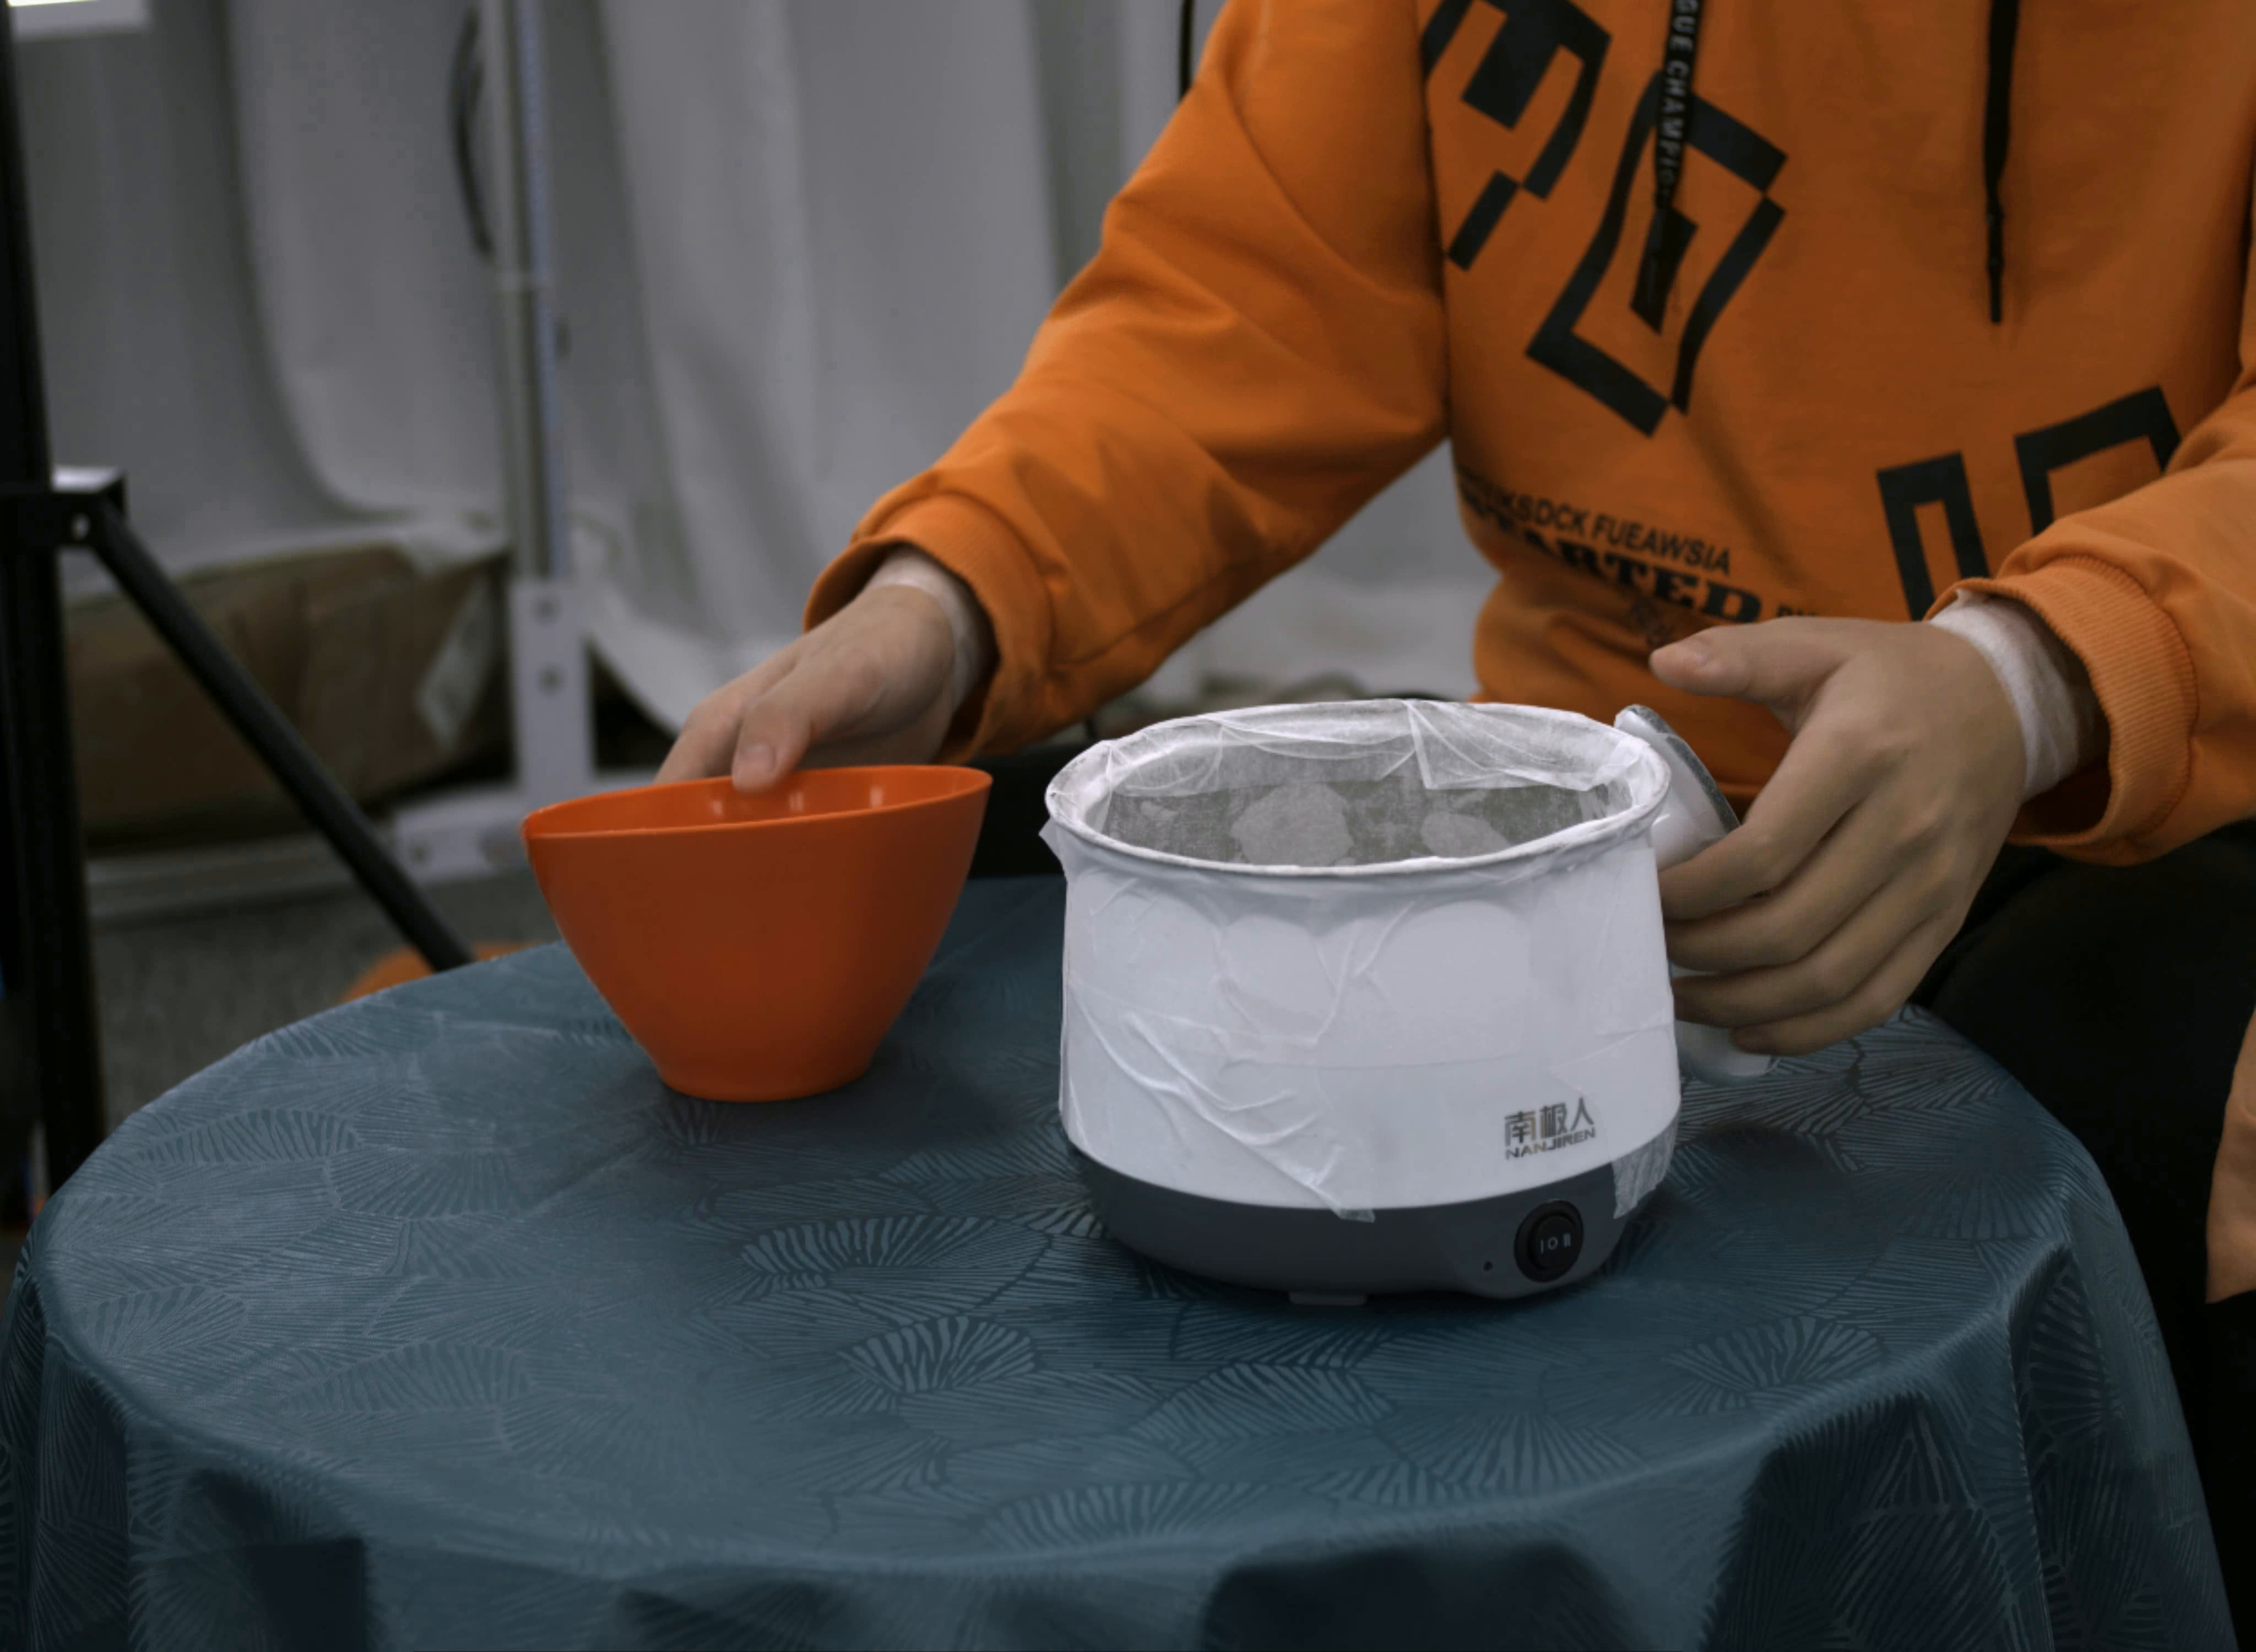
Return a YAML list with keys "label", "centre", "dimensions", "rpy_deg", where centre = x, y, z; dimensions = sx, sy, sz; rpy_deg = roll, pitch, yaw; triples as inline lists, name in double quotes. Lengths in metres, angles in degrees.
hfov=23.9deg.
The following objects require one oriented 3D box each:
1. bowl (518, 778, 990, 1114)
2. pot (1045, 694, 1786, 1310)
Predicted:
- label: "bowl"
  centre: [-0.115, 0.034, 1.663]
  dimensions: [0.147, 0.104, 0.149]
  rpy_deg: [-3, 14, -1]
- label: "pot"
  centre: [0.090, 0.043, 1.520]
  dimensions: [0.228, 0.136, 0.183]
  rpy_deg: [-13, 19, -31]
